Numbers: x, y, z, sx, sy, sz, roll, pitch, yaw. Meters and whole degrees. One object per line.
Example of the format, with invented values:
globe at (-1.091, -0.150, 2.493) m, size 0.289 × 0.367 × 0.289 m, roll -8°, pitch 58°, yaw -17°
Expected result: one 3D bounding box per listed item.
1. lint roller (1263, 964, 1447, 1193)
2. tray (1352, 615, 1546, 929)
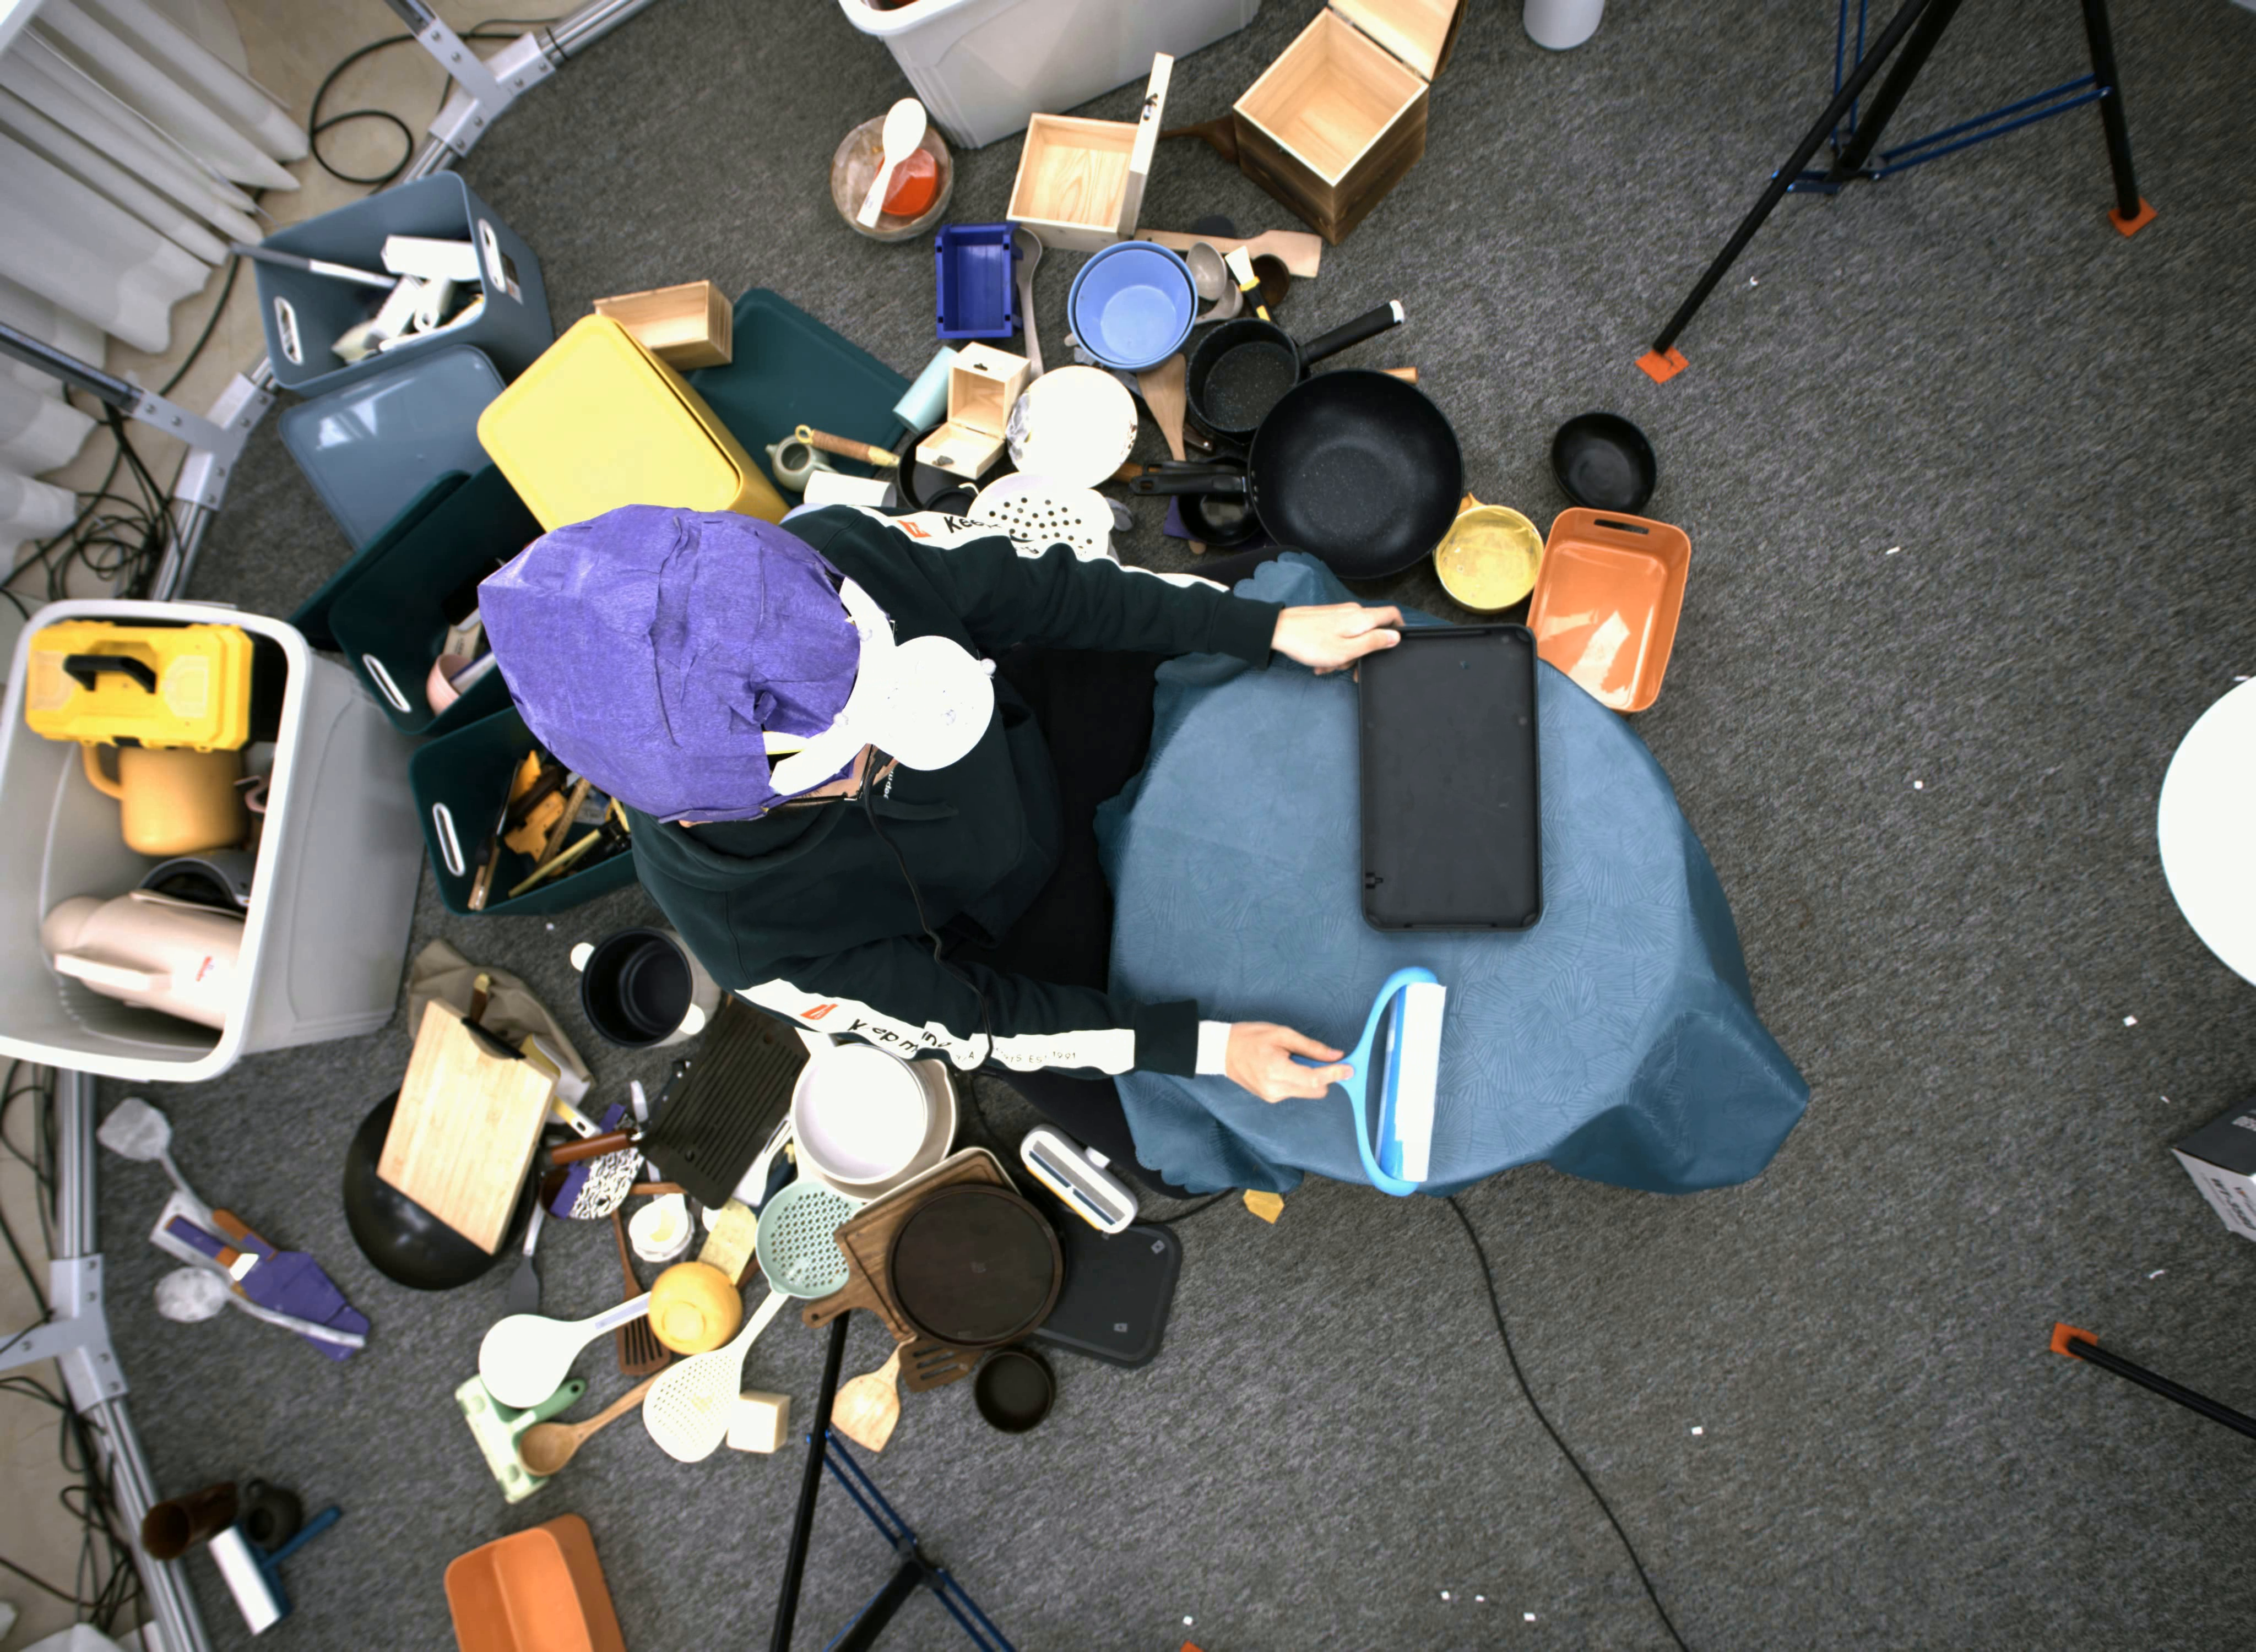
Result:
lint roller at (0.226, 0.248, 1.396) m, size 0.181 × 0.068 × 0.228 m, roll 3°, pitch 86°, yaw 6°
tray at (0.331, -0.056, 1.424) m, size 0.185 × 0.037 × 0.318 m, roll -2°, pitch 91°, yaw 11°
